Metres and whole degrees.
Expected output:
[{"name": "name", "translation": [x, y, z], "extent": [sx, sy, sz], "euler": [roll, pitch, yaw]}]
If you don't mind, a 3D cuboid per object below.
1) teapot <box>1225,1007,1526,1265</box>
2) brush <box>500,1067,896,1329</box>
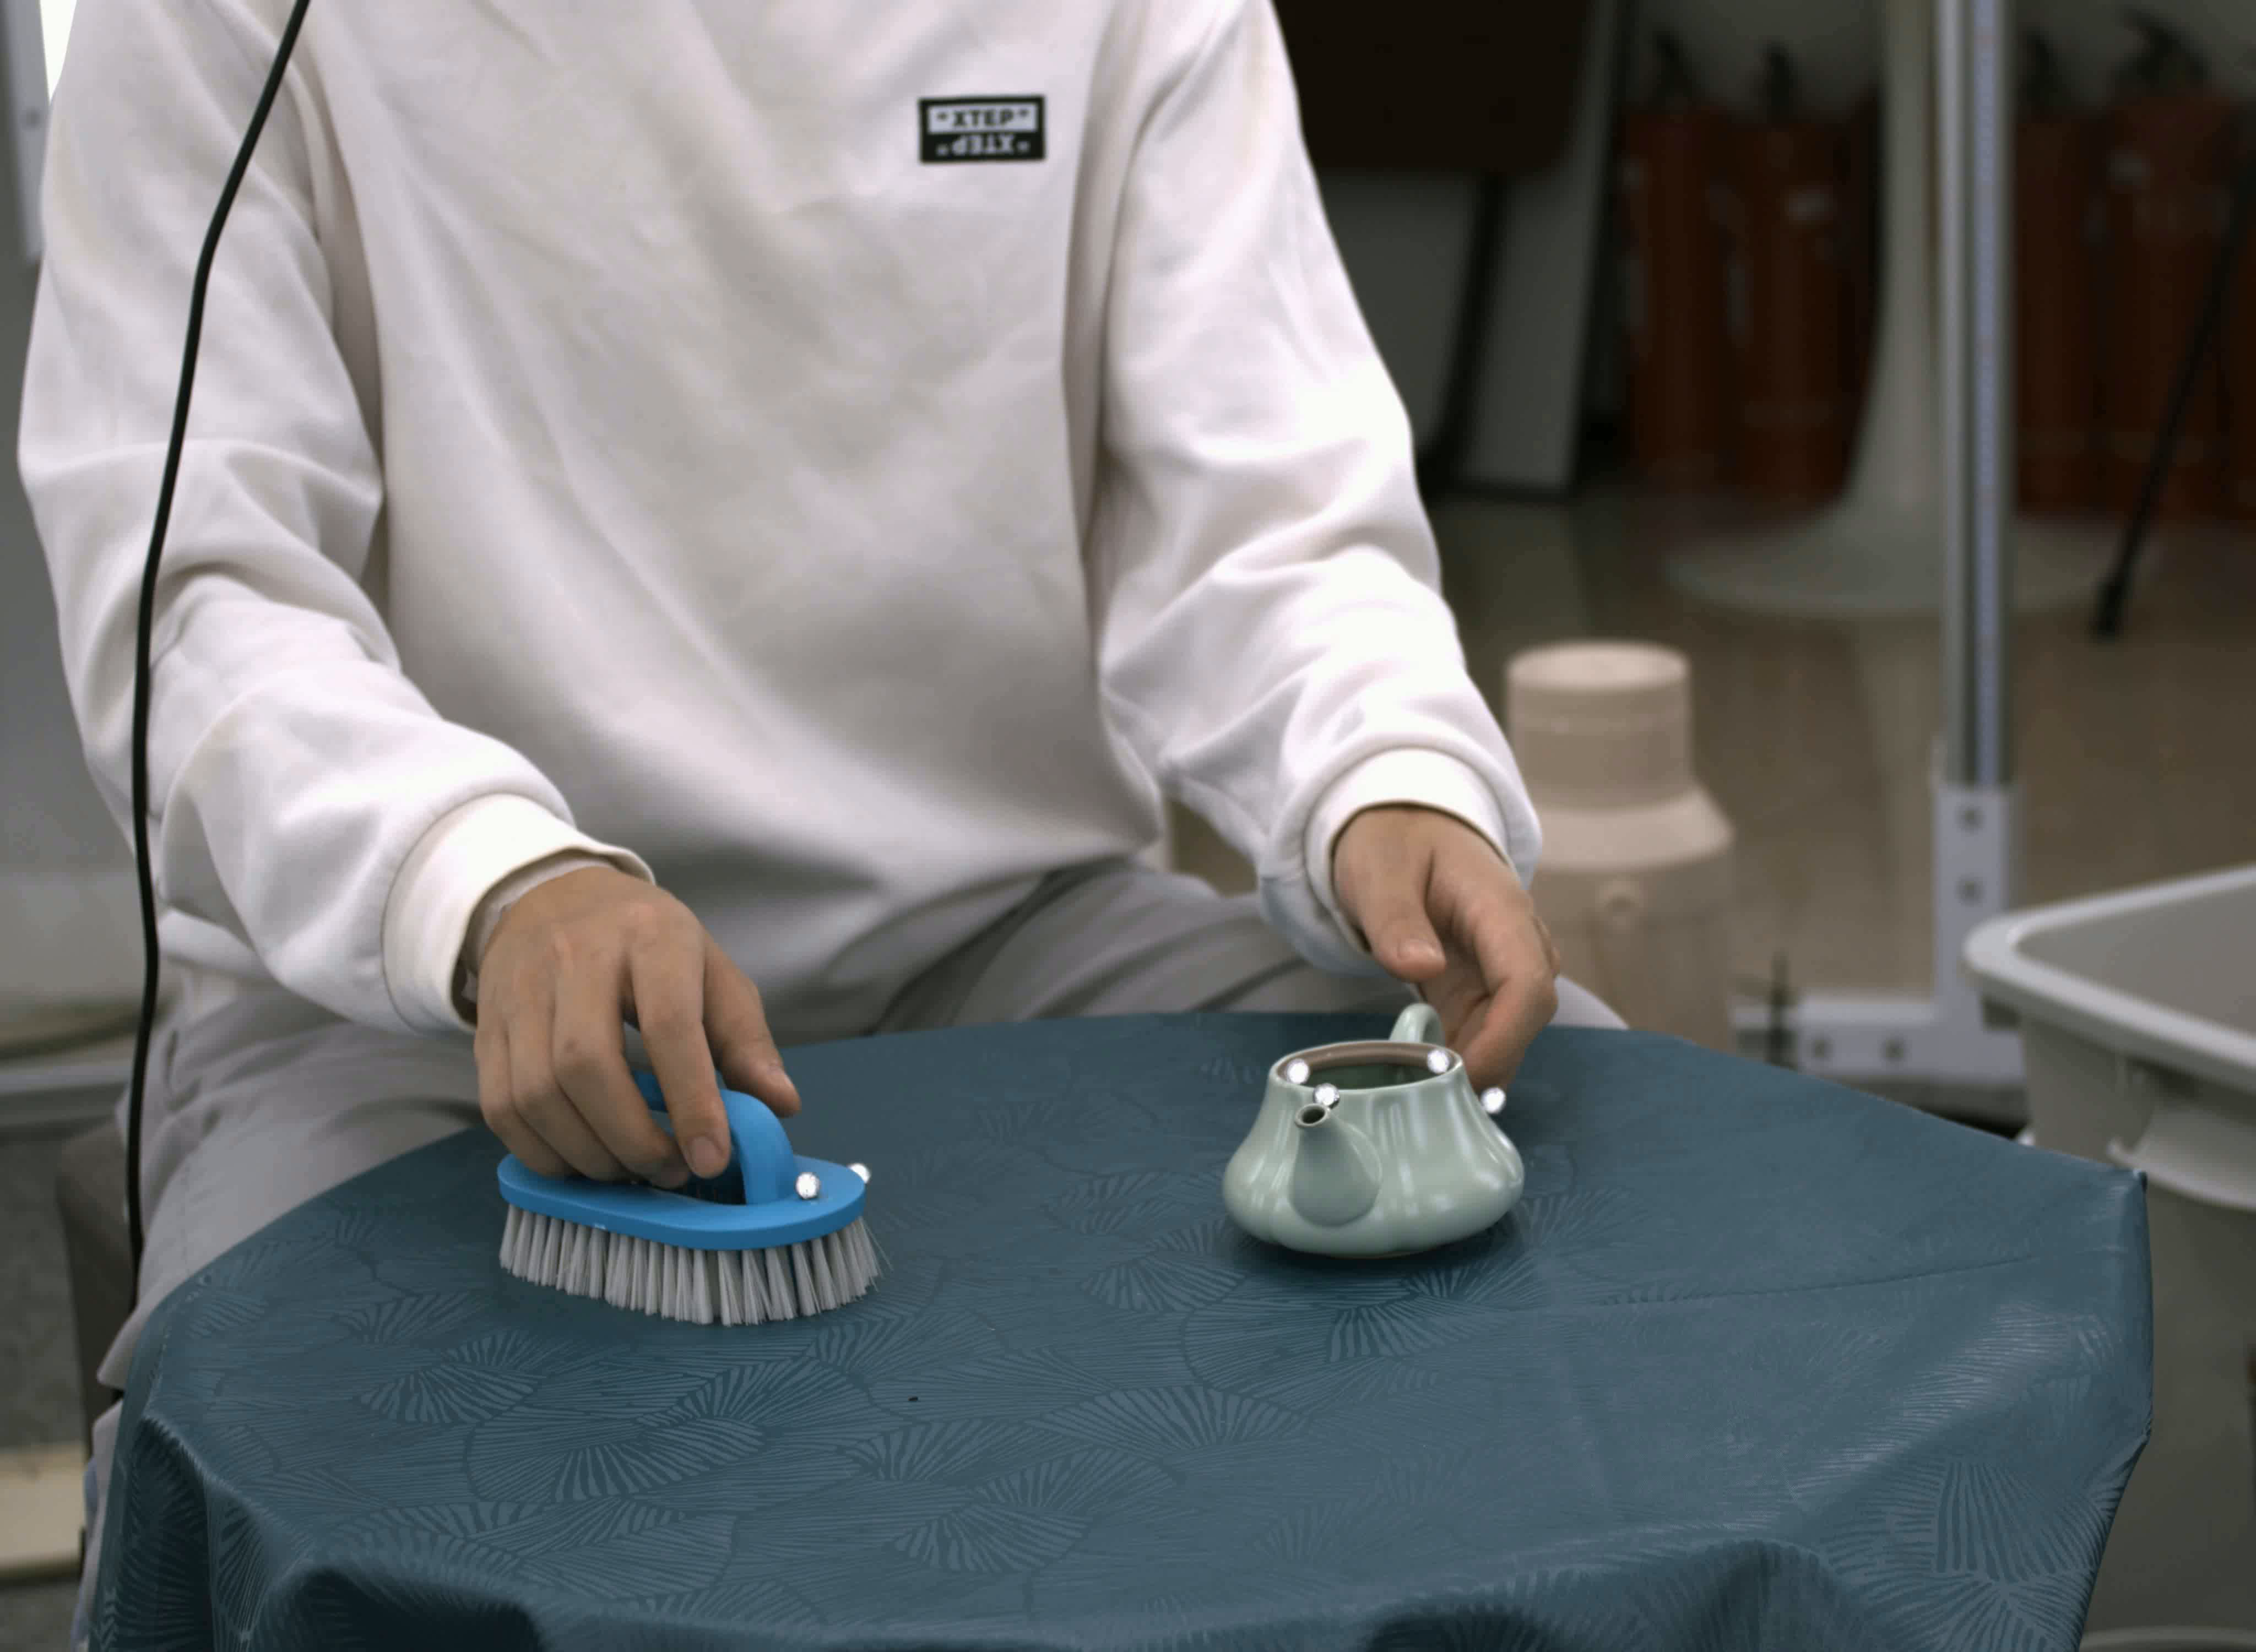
[{"name": "teapot", "translation": [0.079, 0.101, 1.711], "extent": [0.096, 0.062, 0.136], "euler": [-2, 13, 18]}, {"name": "brush", "translation": [-0.141, 0.111, 1.720], "extent": [0.143, 0.064, 0.083], "euler": [6, 21, 39]}]
